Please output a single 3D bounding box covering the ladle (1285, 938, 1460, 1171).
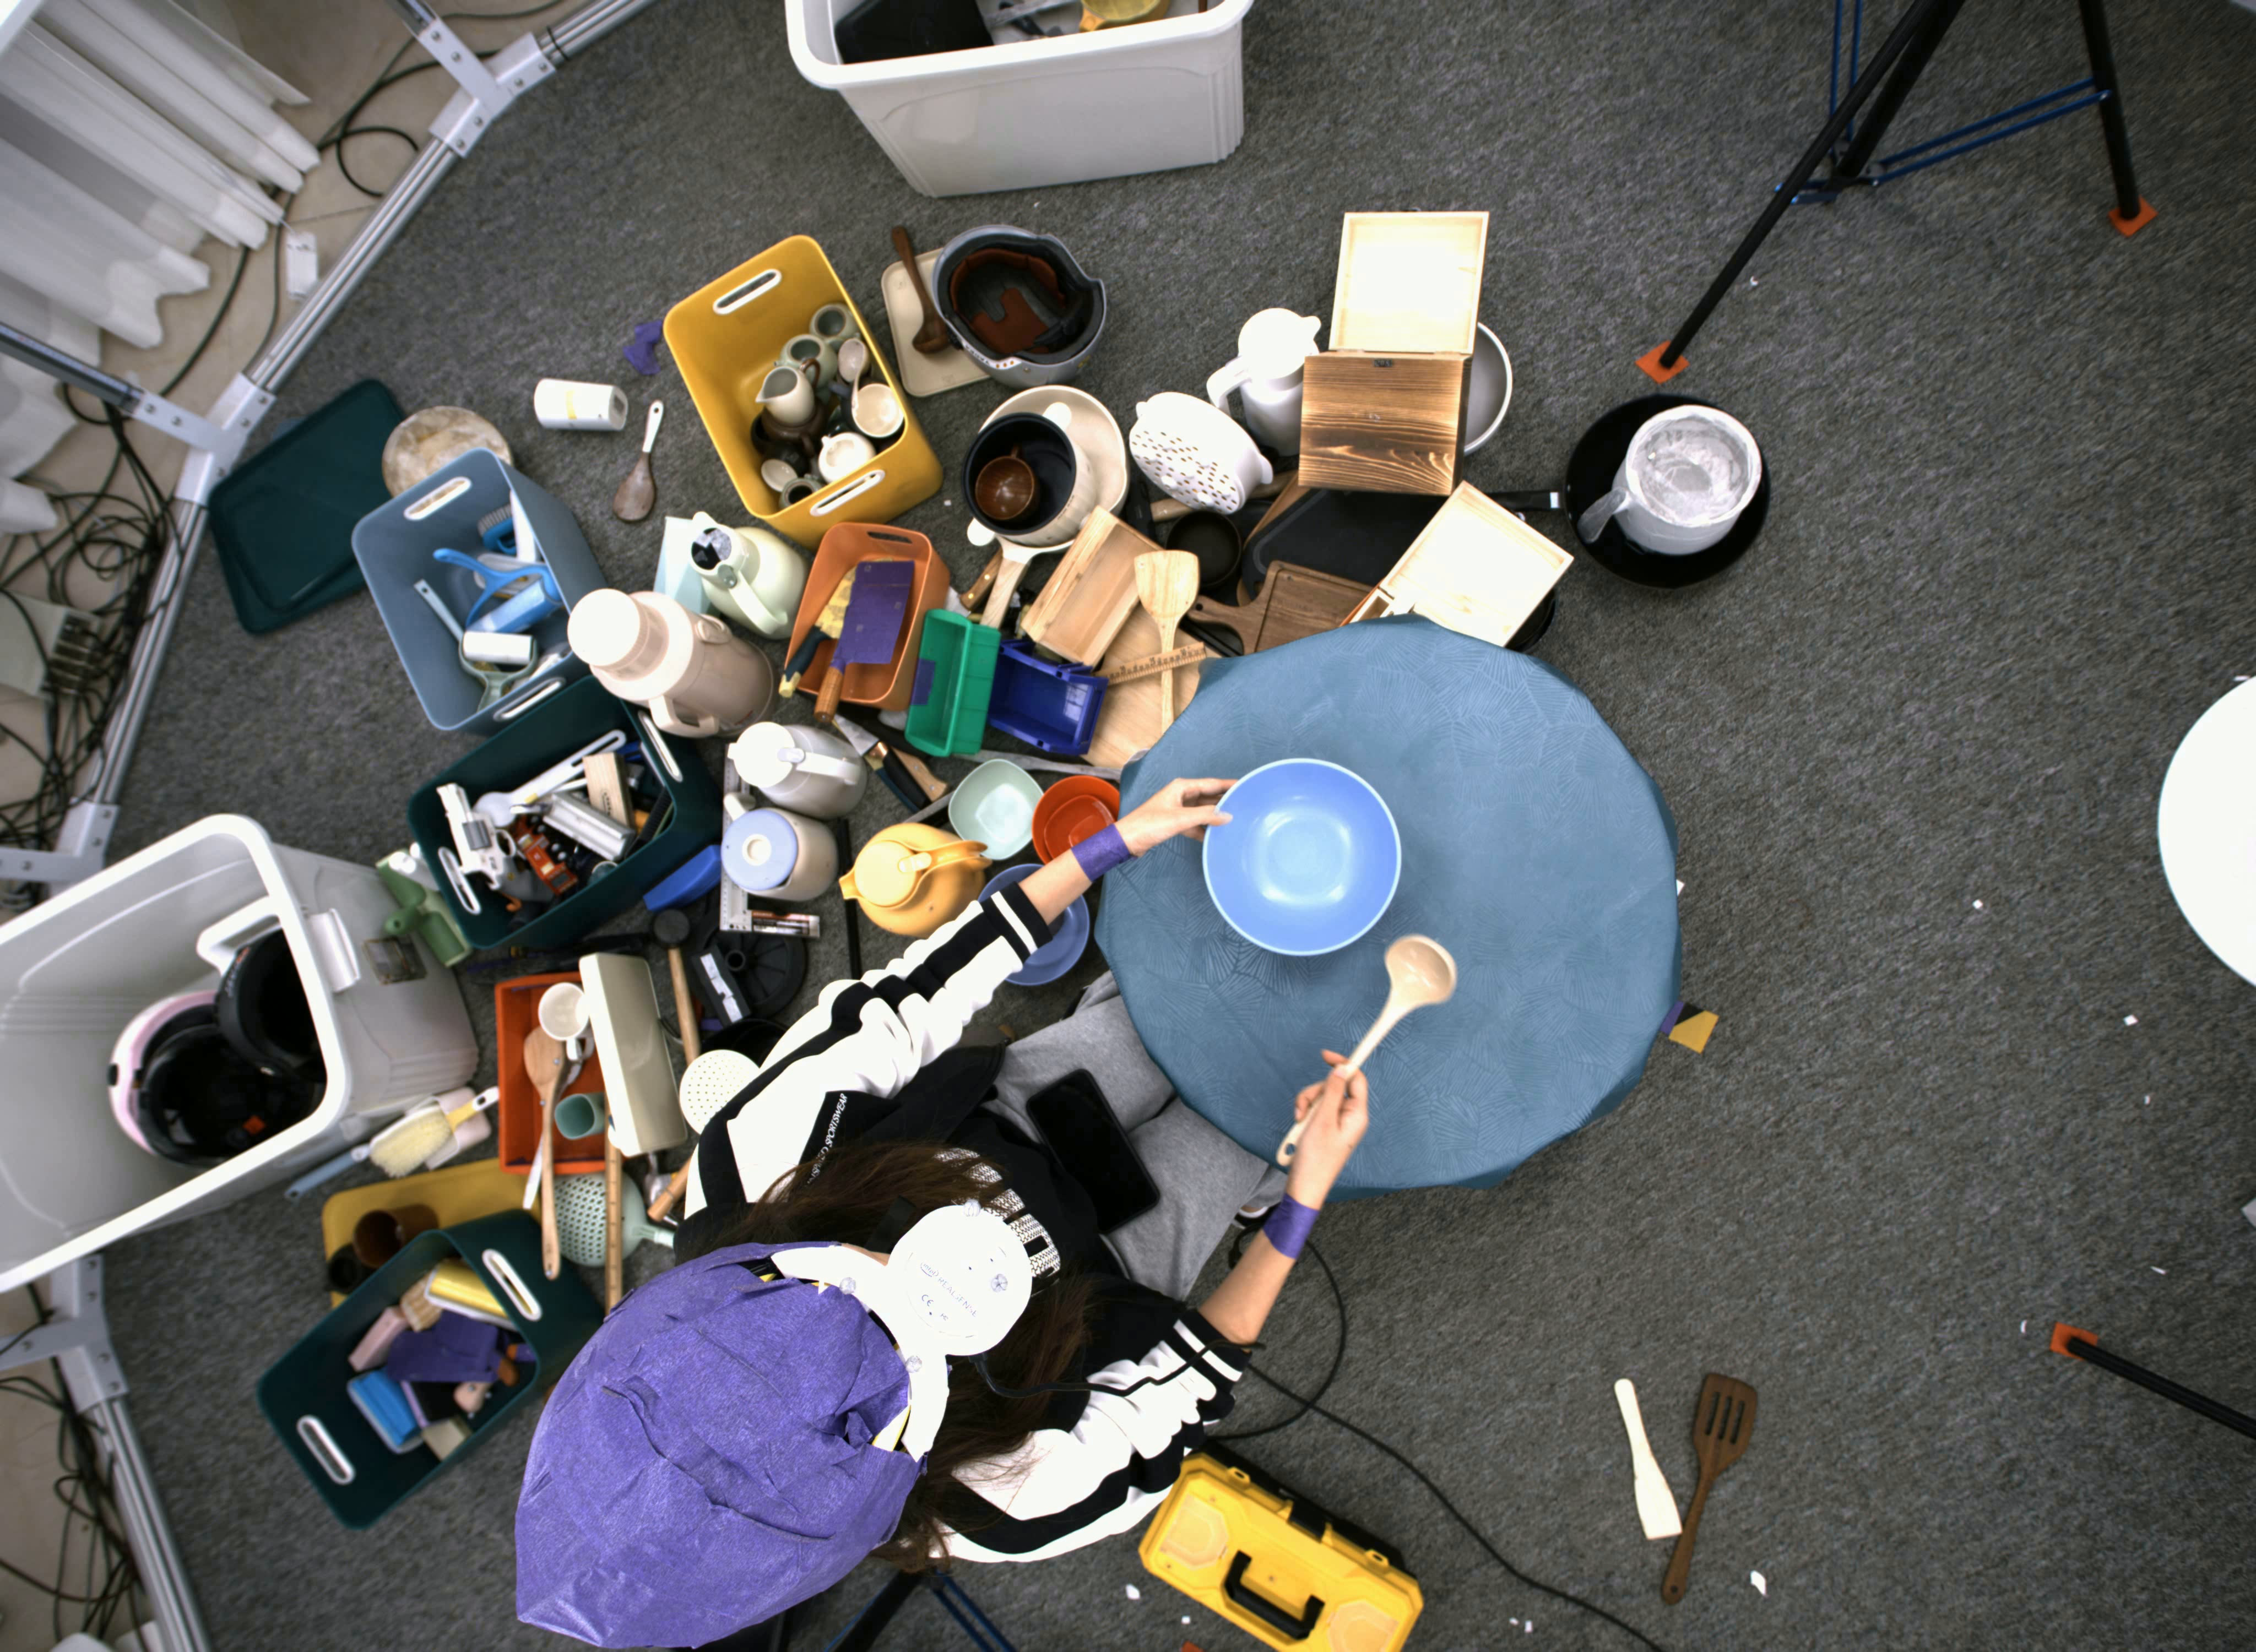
[{"bbox_3d":[0.225,0.214,1.310,0.072,0.074,0.251,35,76,18],"label":"ladle"}]

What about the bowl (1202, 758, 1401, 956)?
[{"bbox_3d":[0.177,0.030,1.413,0.197,0.095,0.196,0,92,8],"label":"bowl"}]
